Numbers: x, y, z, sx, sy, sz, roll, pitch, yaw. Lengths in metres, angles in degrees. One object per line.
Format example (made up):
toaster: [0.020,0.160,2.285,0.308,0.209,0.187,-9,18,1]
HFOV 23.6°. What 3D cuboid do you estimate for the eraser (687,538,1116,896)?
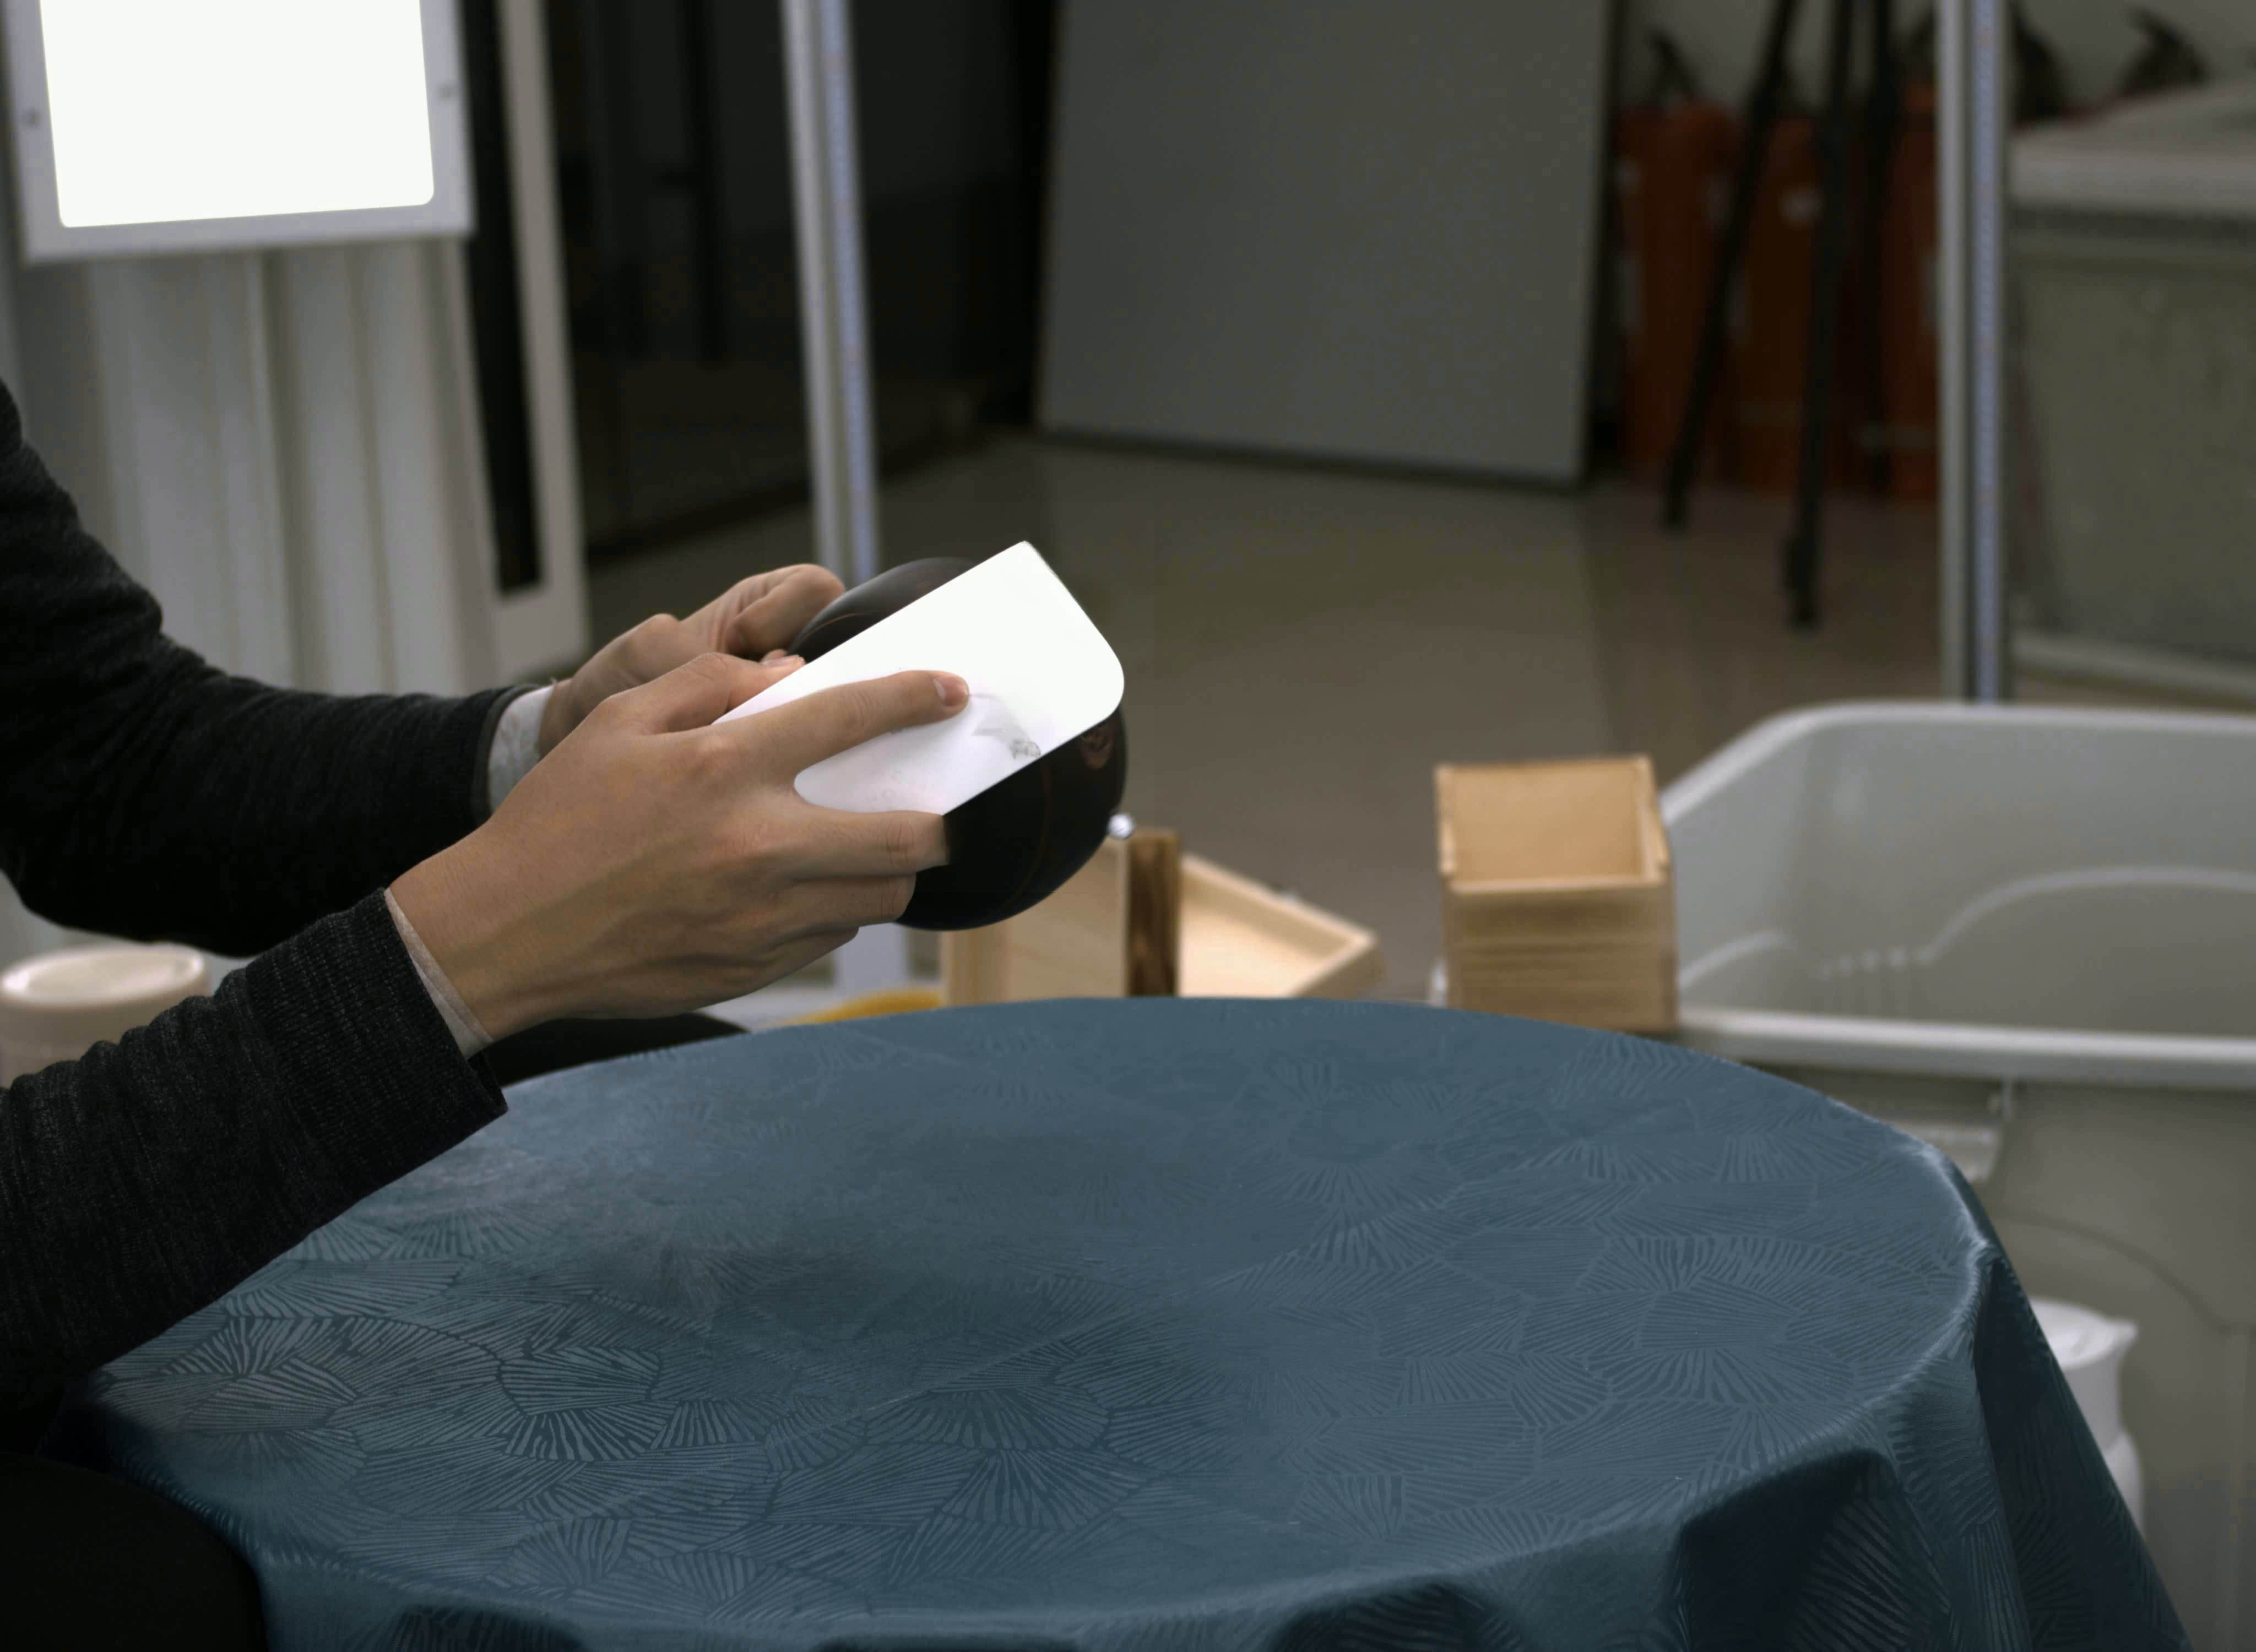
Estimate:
eraser: [-0.069,-0.033,1.627,0.130,0.064,0.034,-31,-7,-14]

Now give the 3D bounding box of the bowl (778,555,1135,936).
bowl: [-0.062,-0.018,1.695,0.118,0.119,0.069,3,28,27]
